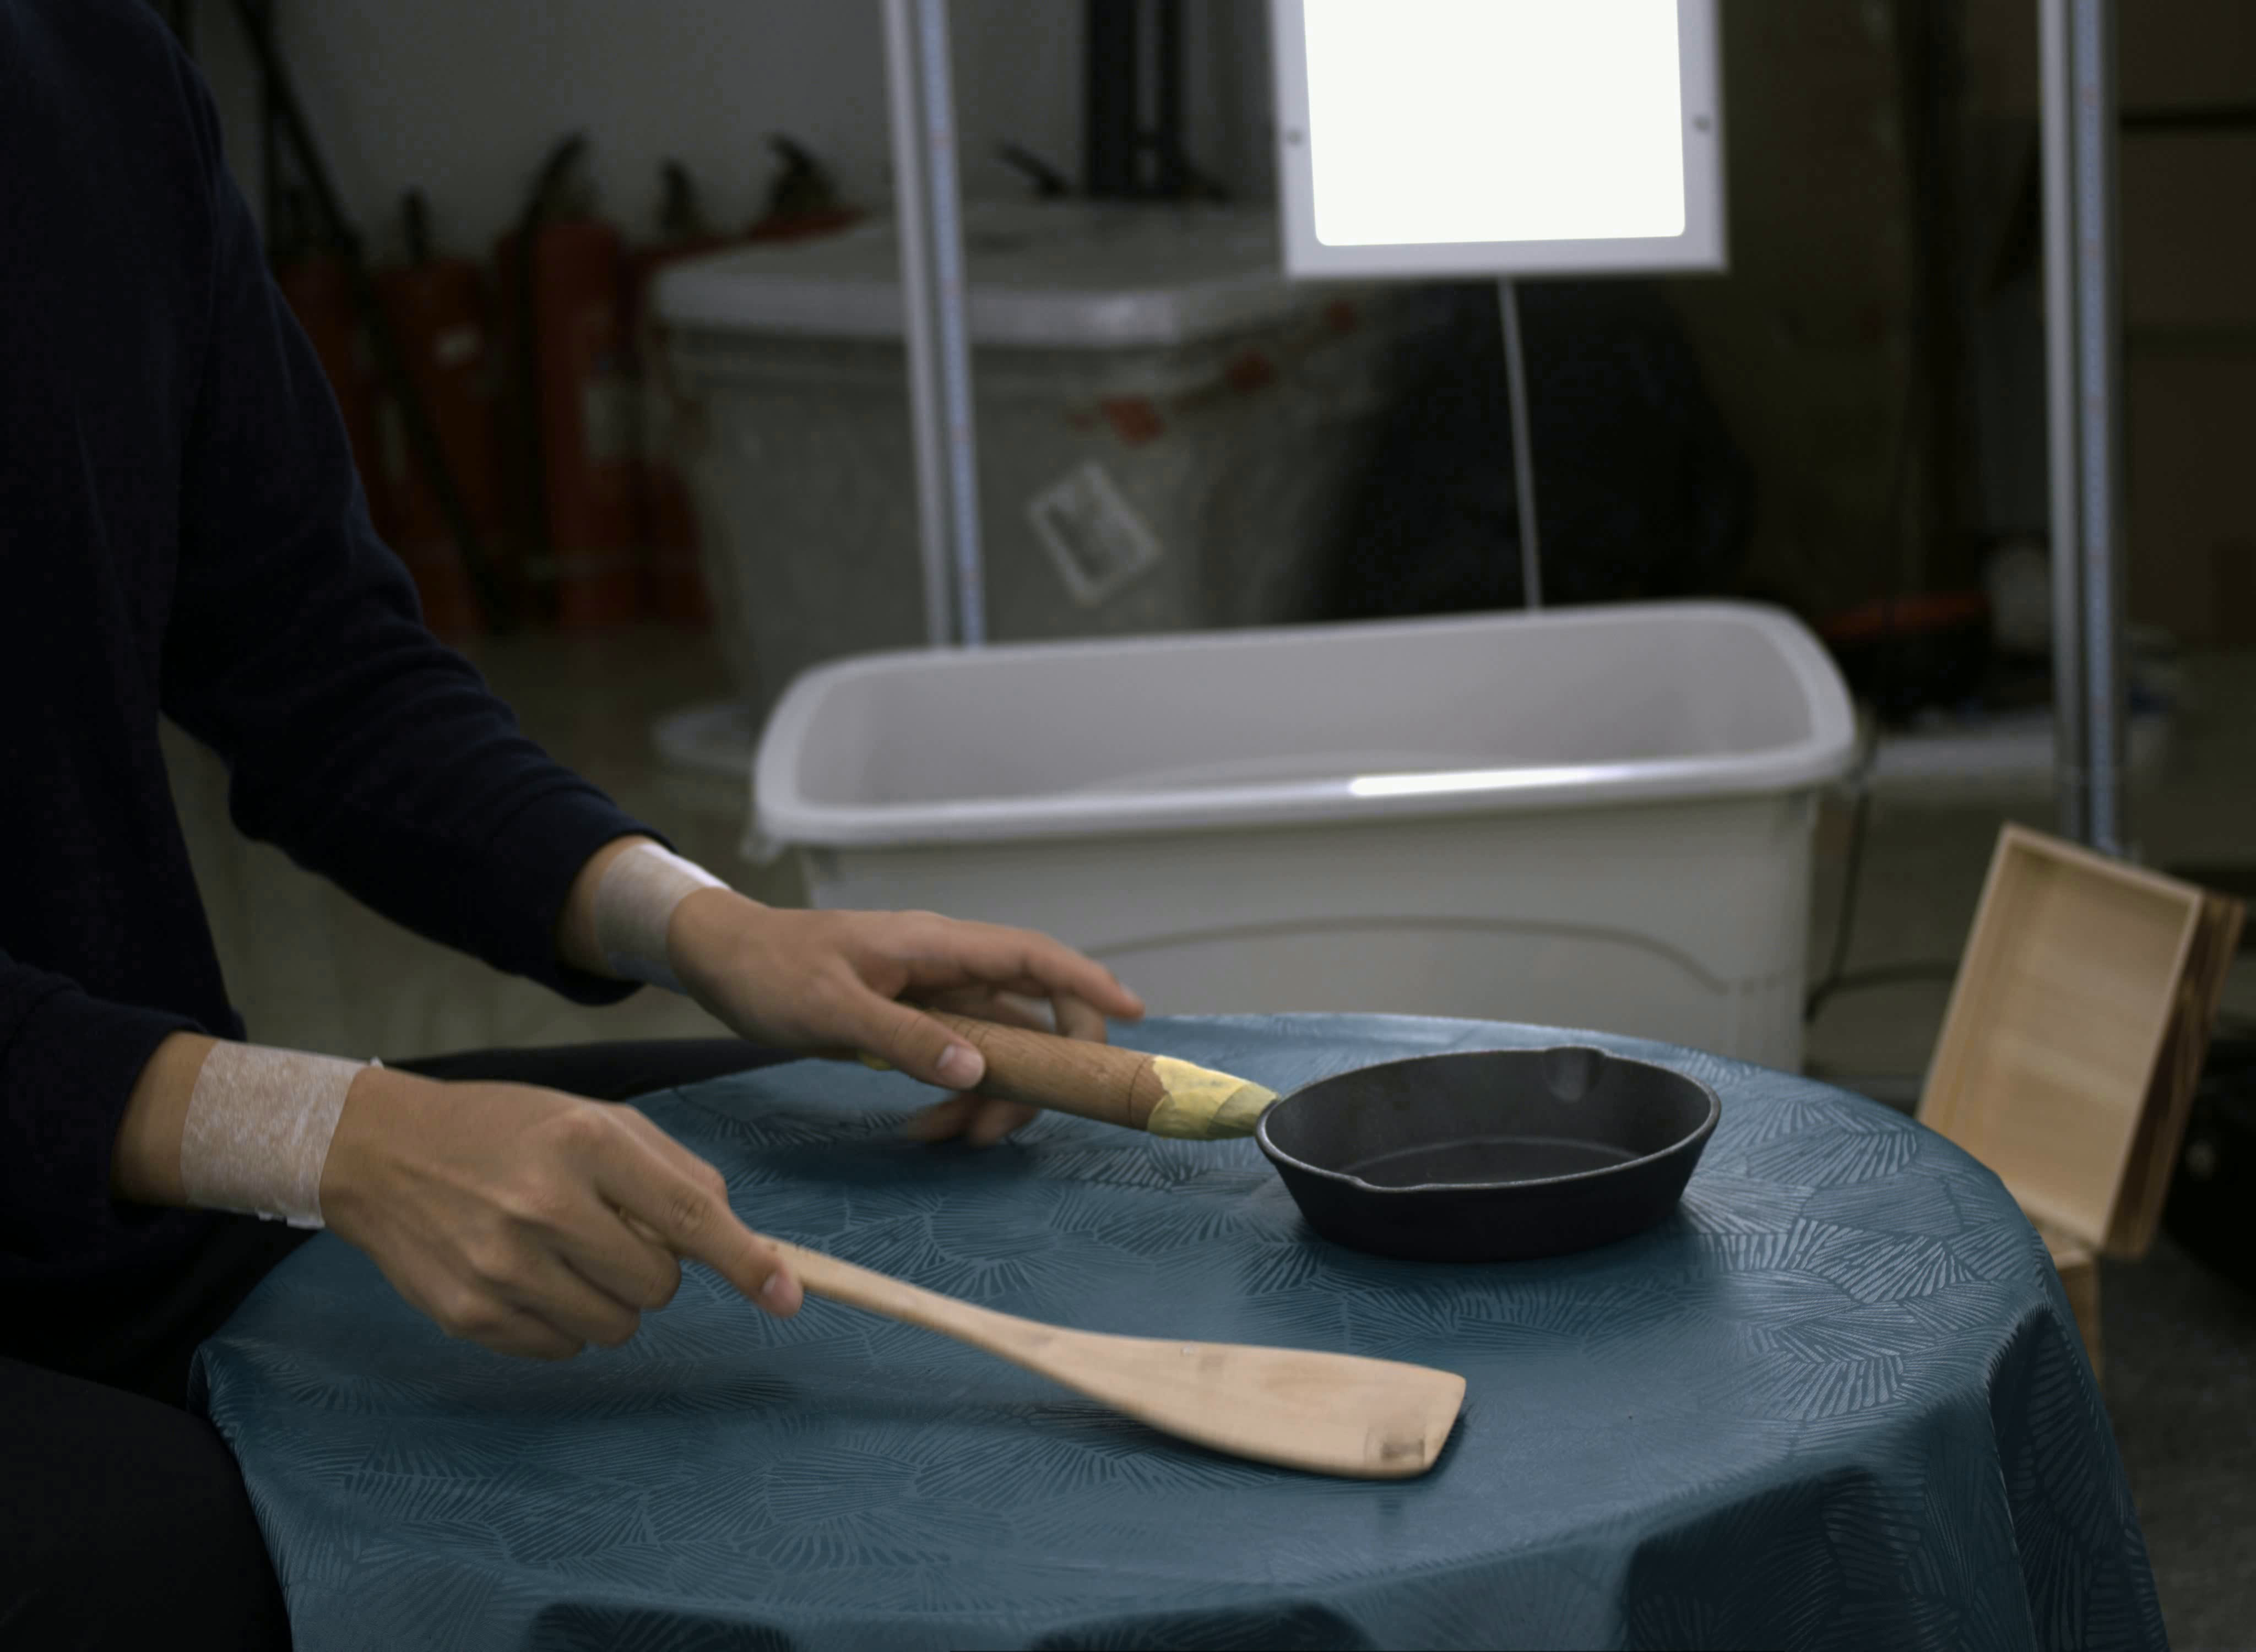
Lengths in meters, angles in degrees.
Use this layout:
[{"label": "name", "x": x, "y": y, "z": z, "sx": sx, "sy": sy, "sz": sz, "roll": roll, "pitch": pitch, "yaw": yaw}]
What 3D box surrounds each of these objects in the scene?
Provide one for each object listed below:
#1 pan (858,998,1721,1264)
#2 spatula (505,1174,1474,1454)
[{"label": "pan", "x": 0.048, "y": 0.098, "z": 1.889, "sx": 0.330, "sy": 0.050, "sz": 0.165, "roll": 5, "pitch": 17, "yaw": 32}, {"label": "spatula", "x": -0.046, "y": 0.145, "z": 1.699, "sx": 0.332, "sy": 0.016, "sz": 0.078, "roll": 13, "pitch": 18, "yaw": 22}]
